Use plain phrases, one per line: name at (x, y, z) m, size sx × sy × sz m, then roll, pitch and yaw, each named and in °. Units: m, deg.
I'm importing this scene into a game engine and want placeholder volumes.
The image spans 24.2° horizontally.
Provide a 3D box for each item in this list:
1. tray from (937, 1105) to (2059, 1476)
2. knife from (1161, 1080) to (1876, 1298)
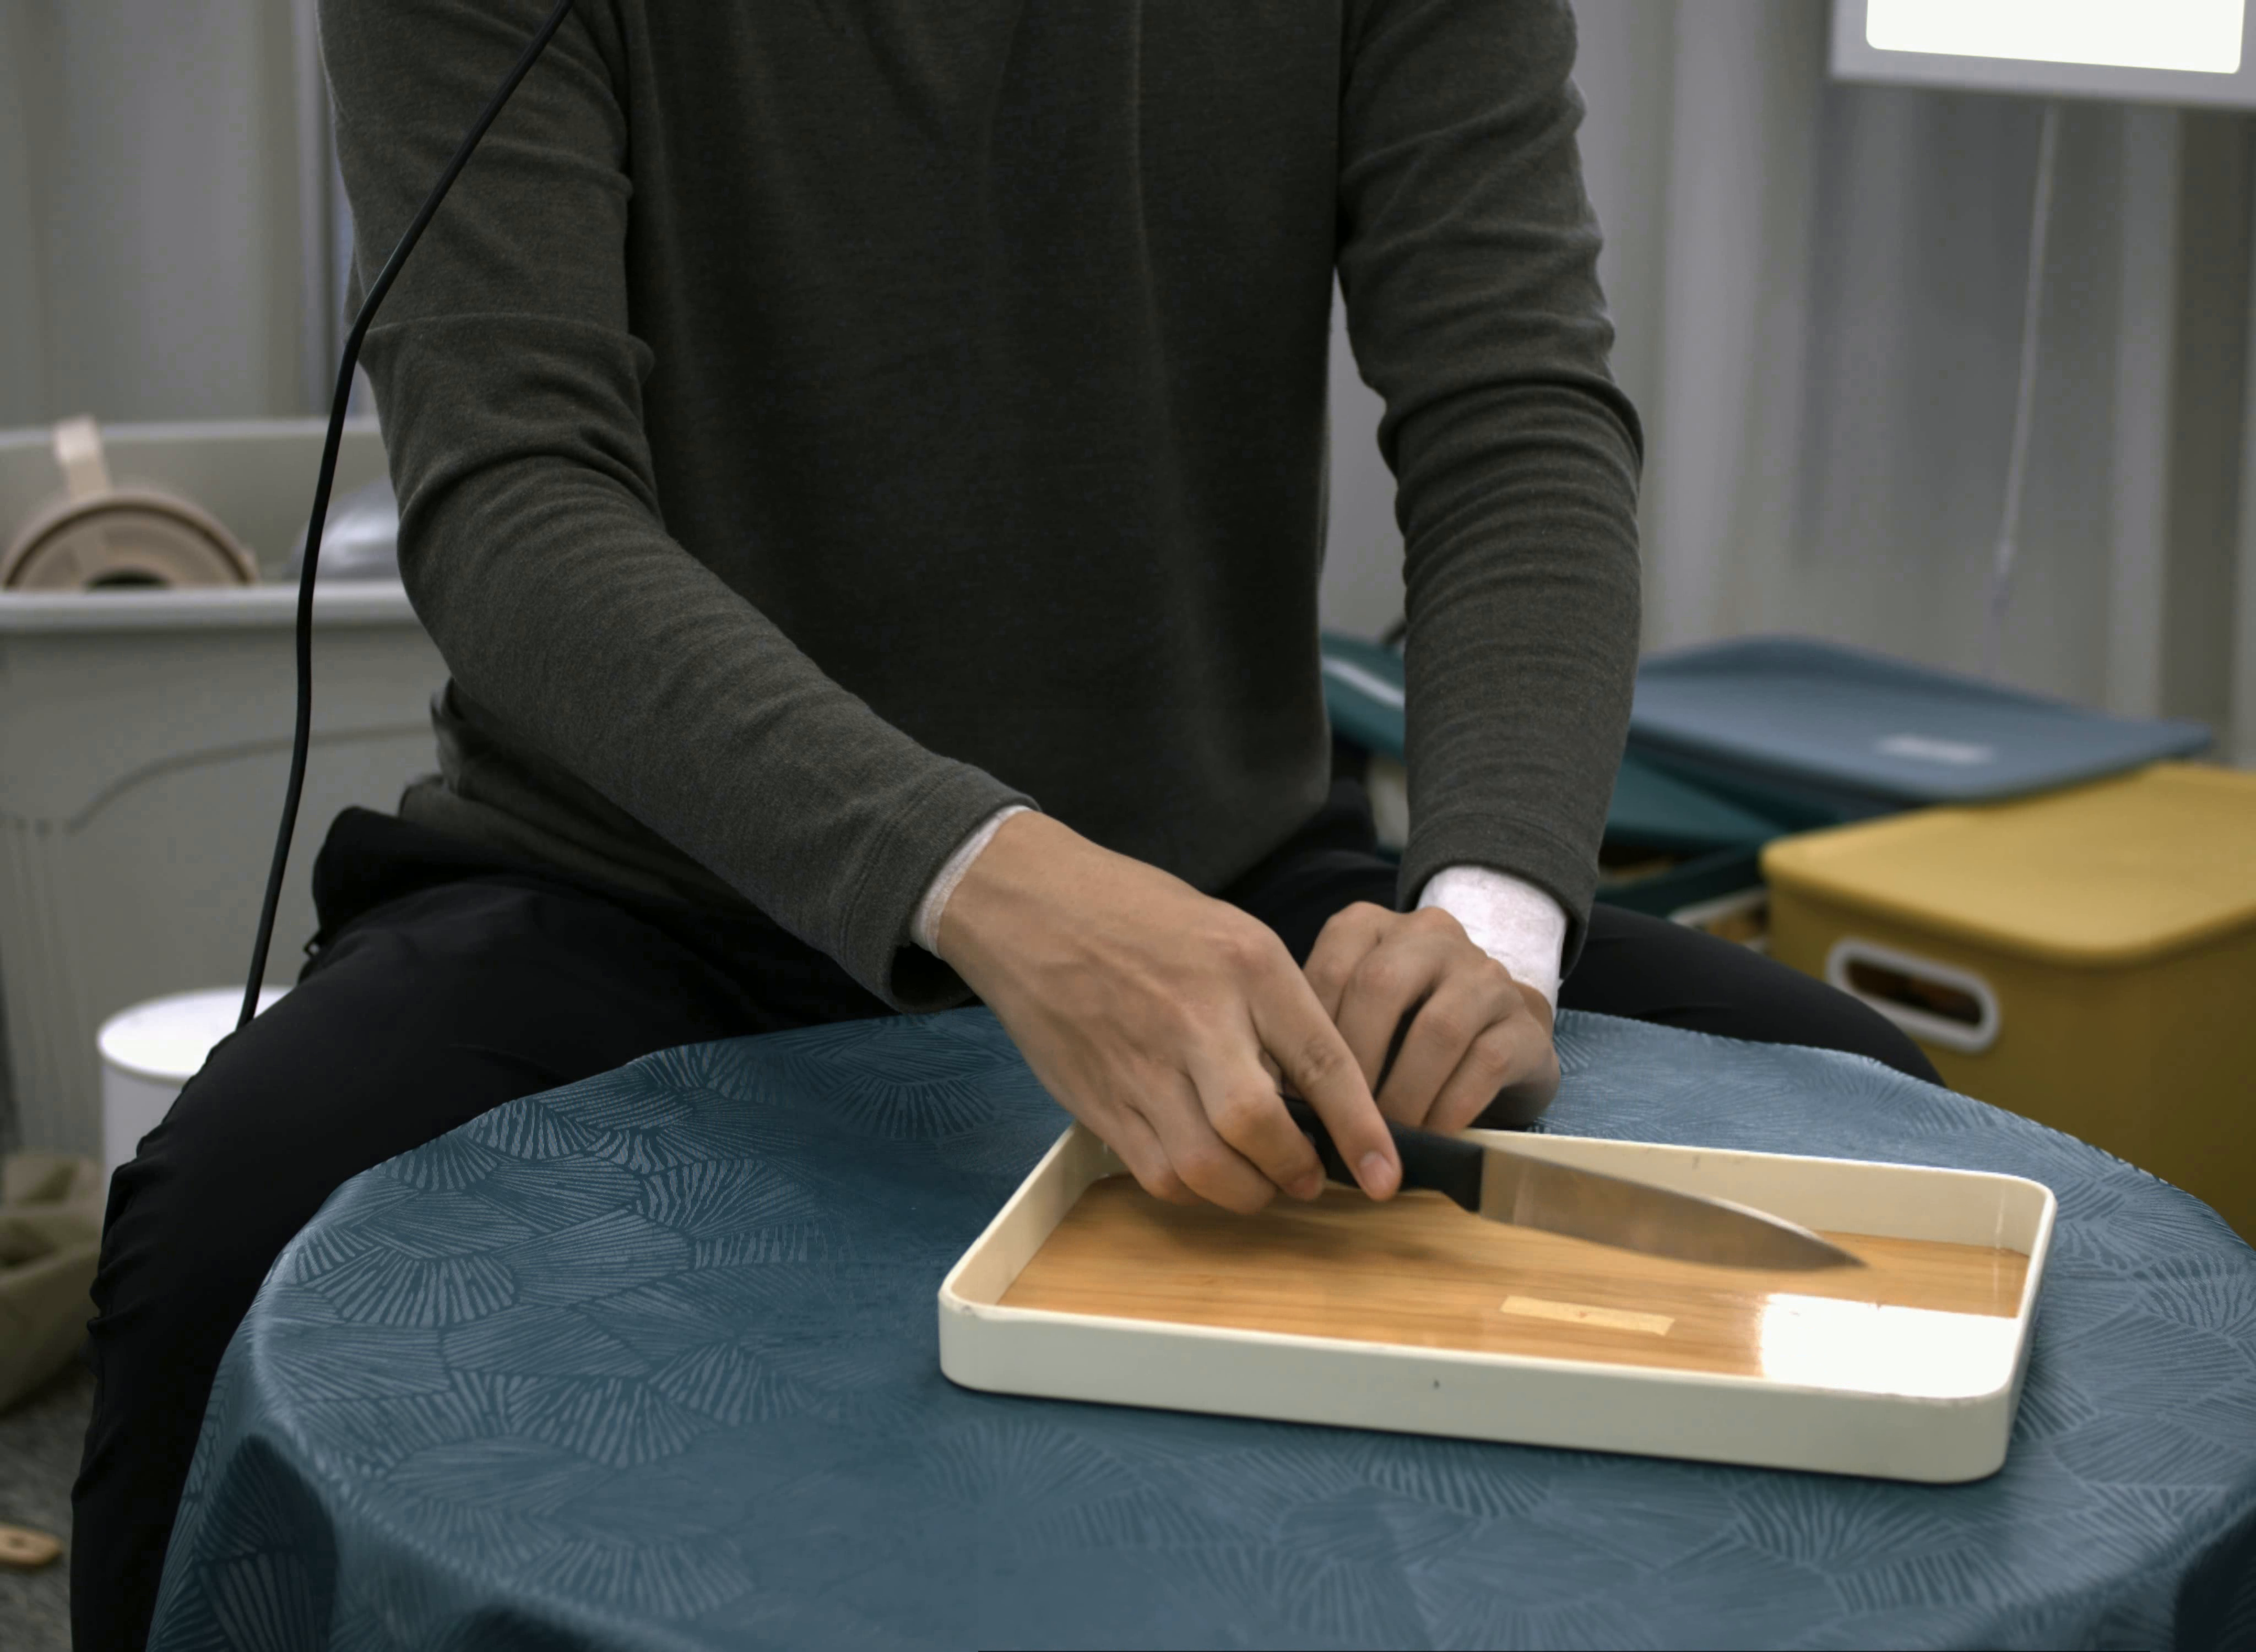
tray at (0.110, 0.130, 1.514) m, size 0.298 × 0.027 × 0.191 m, roll 4°, pitch 15°, yaw 13°
knife at (0.111, 0.106, 1.538) m, size 0.235 × 0.024 × 0.016 m, roll 13°, pitch 17°, yaw 30°
